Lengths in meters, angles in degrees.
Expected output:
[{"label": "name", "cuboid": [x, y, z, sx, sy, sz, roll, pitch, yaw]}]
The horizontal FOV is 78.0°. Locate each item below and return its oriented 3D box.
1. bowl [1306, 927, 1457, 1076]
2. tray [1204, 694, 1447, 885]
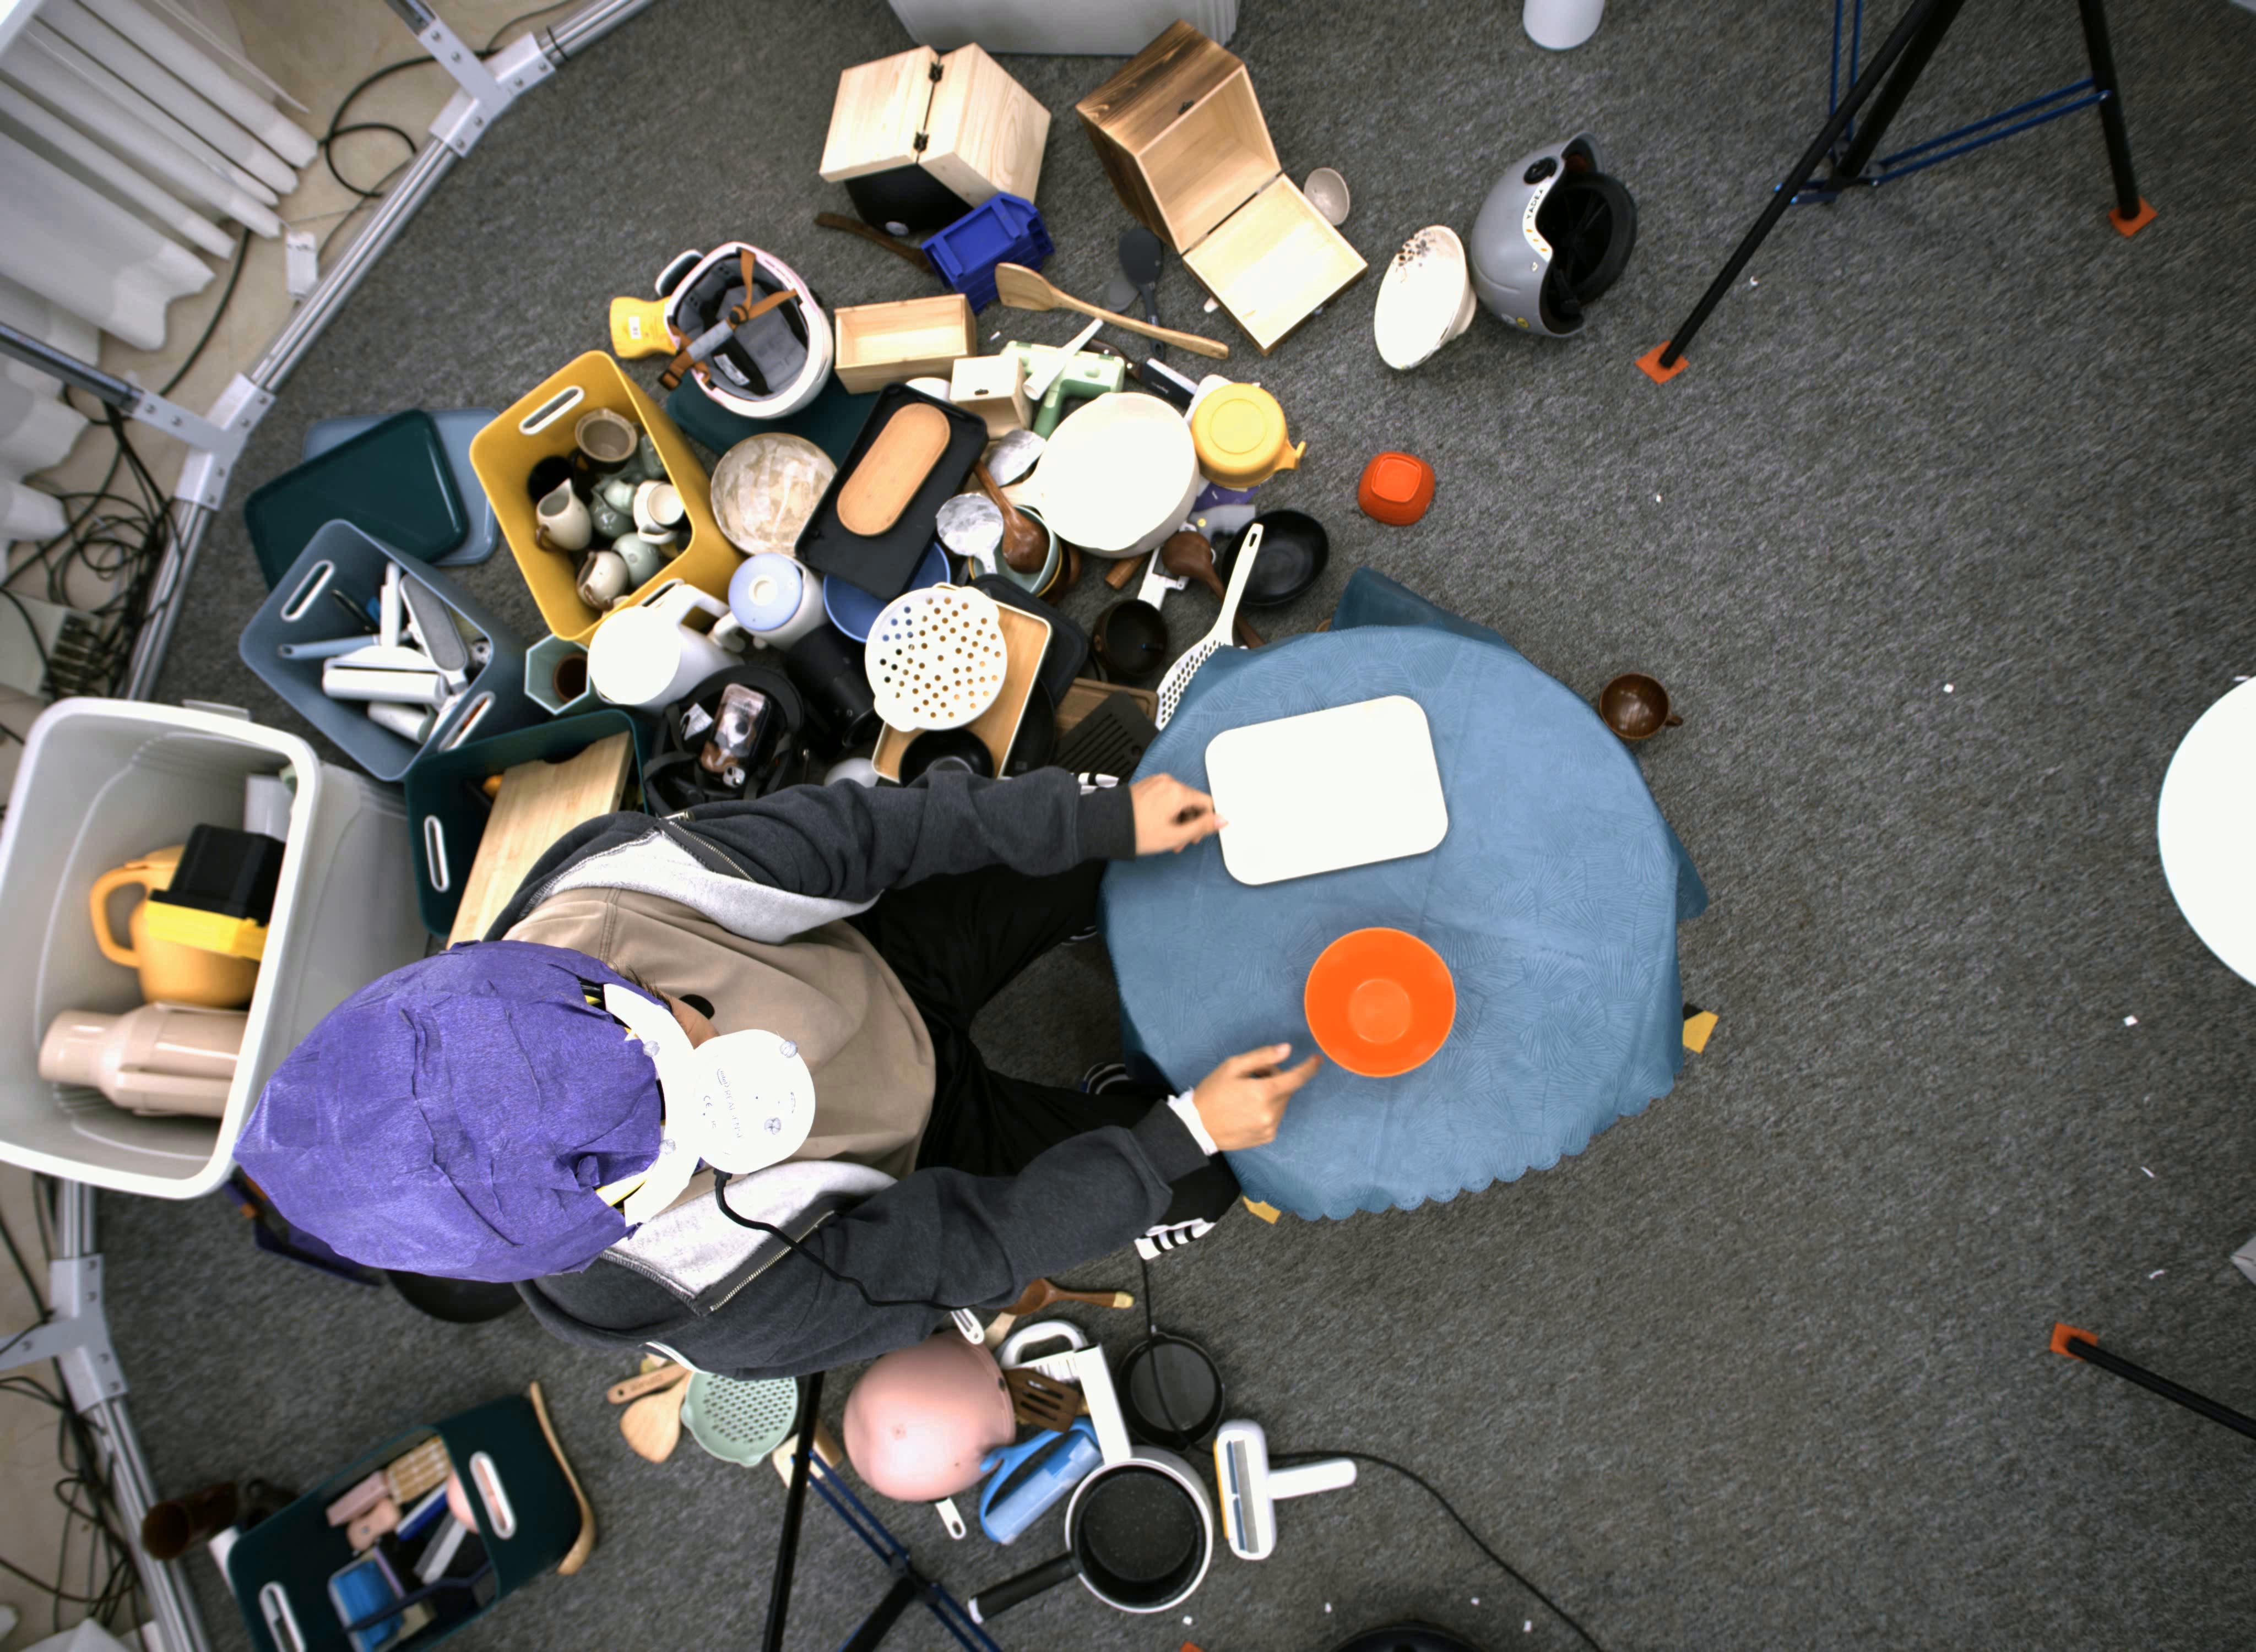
[{"label": "bowl", "cuboid": [0.257, 0.177, 1.405, 0.148, 0.105, 0.147, -1, 86, 10]}, {"label": "tray", "cuboid": [0.209, -0.039, 1.468, 0.241, 0.017, 0.170, -12, 85, 10]}]
